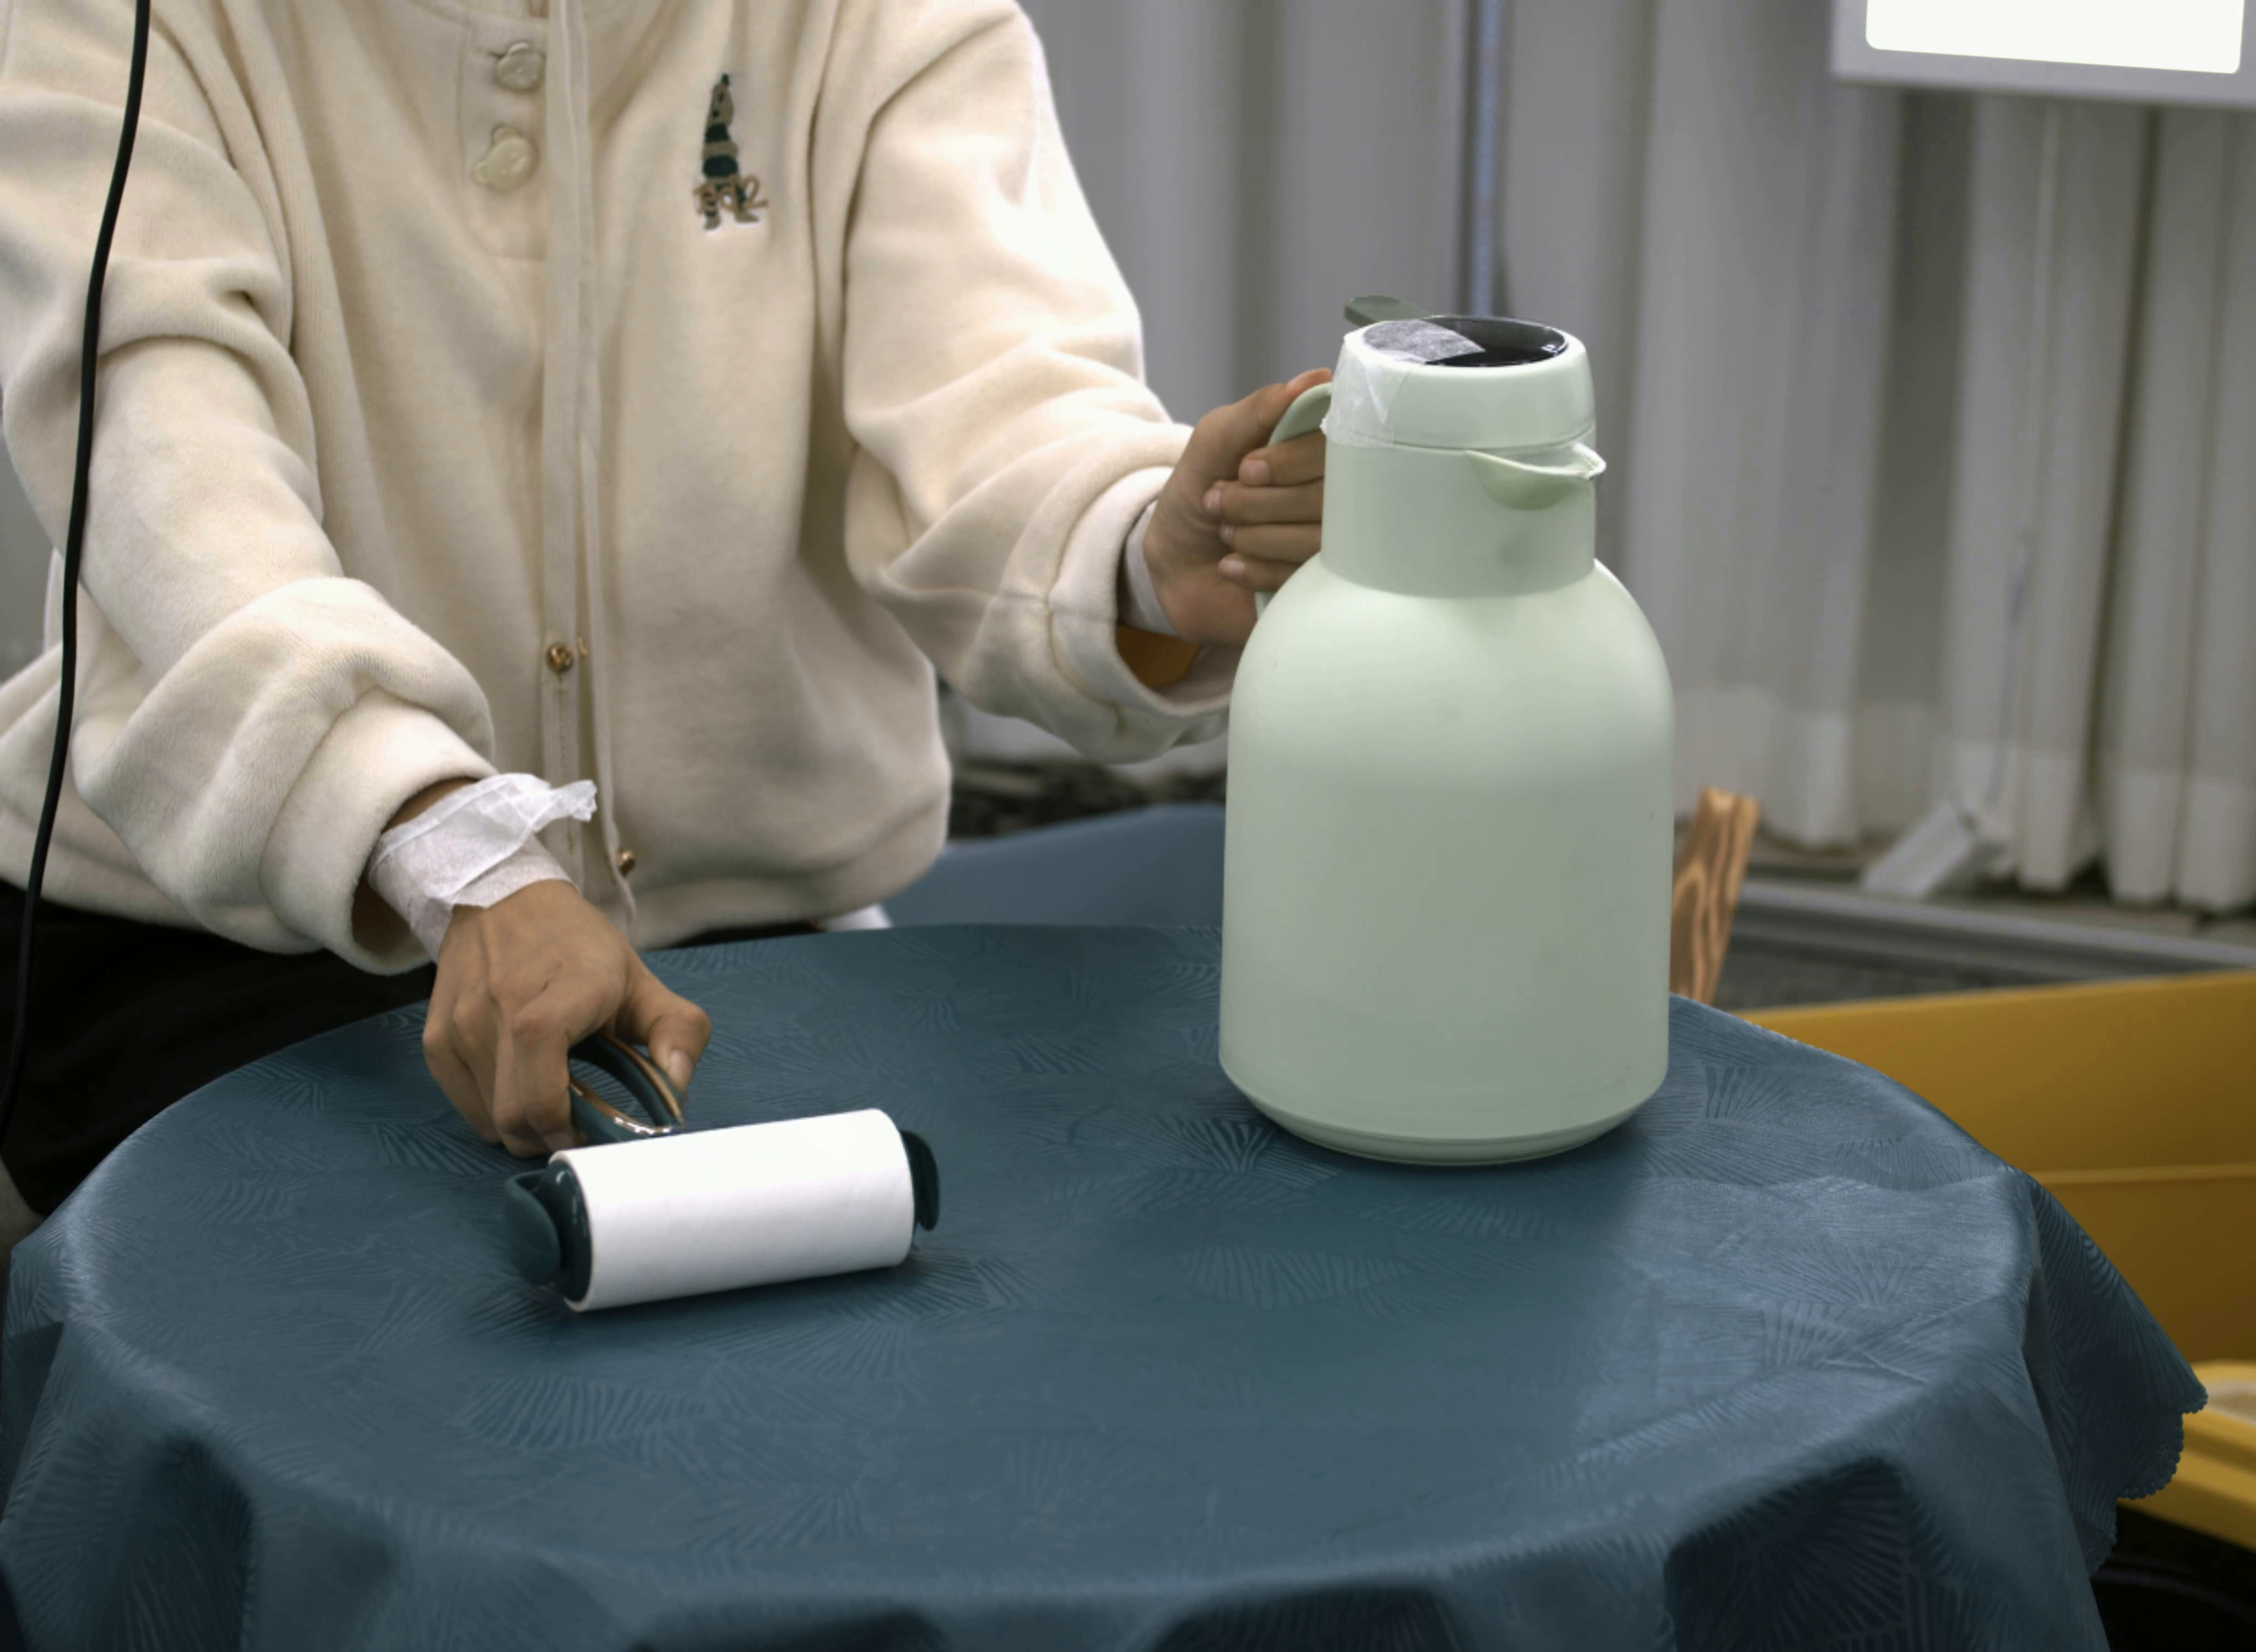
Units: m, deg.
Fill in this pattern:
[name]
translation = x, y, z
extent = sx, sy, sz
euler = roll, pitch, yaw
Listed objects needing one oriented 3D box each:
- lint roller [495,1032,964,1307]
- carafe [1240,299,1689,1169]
[lint roller]
translation = -0.143, 0.084, 1.585
extent = 0.135, 0.049, 0.178
euler = -6, 27, -24
[carafe]
translation = 0.099, -0.034, 1.672
extent = 0.145, 0.259, 0.184
euler = -11, 19, -25
